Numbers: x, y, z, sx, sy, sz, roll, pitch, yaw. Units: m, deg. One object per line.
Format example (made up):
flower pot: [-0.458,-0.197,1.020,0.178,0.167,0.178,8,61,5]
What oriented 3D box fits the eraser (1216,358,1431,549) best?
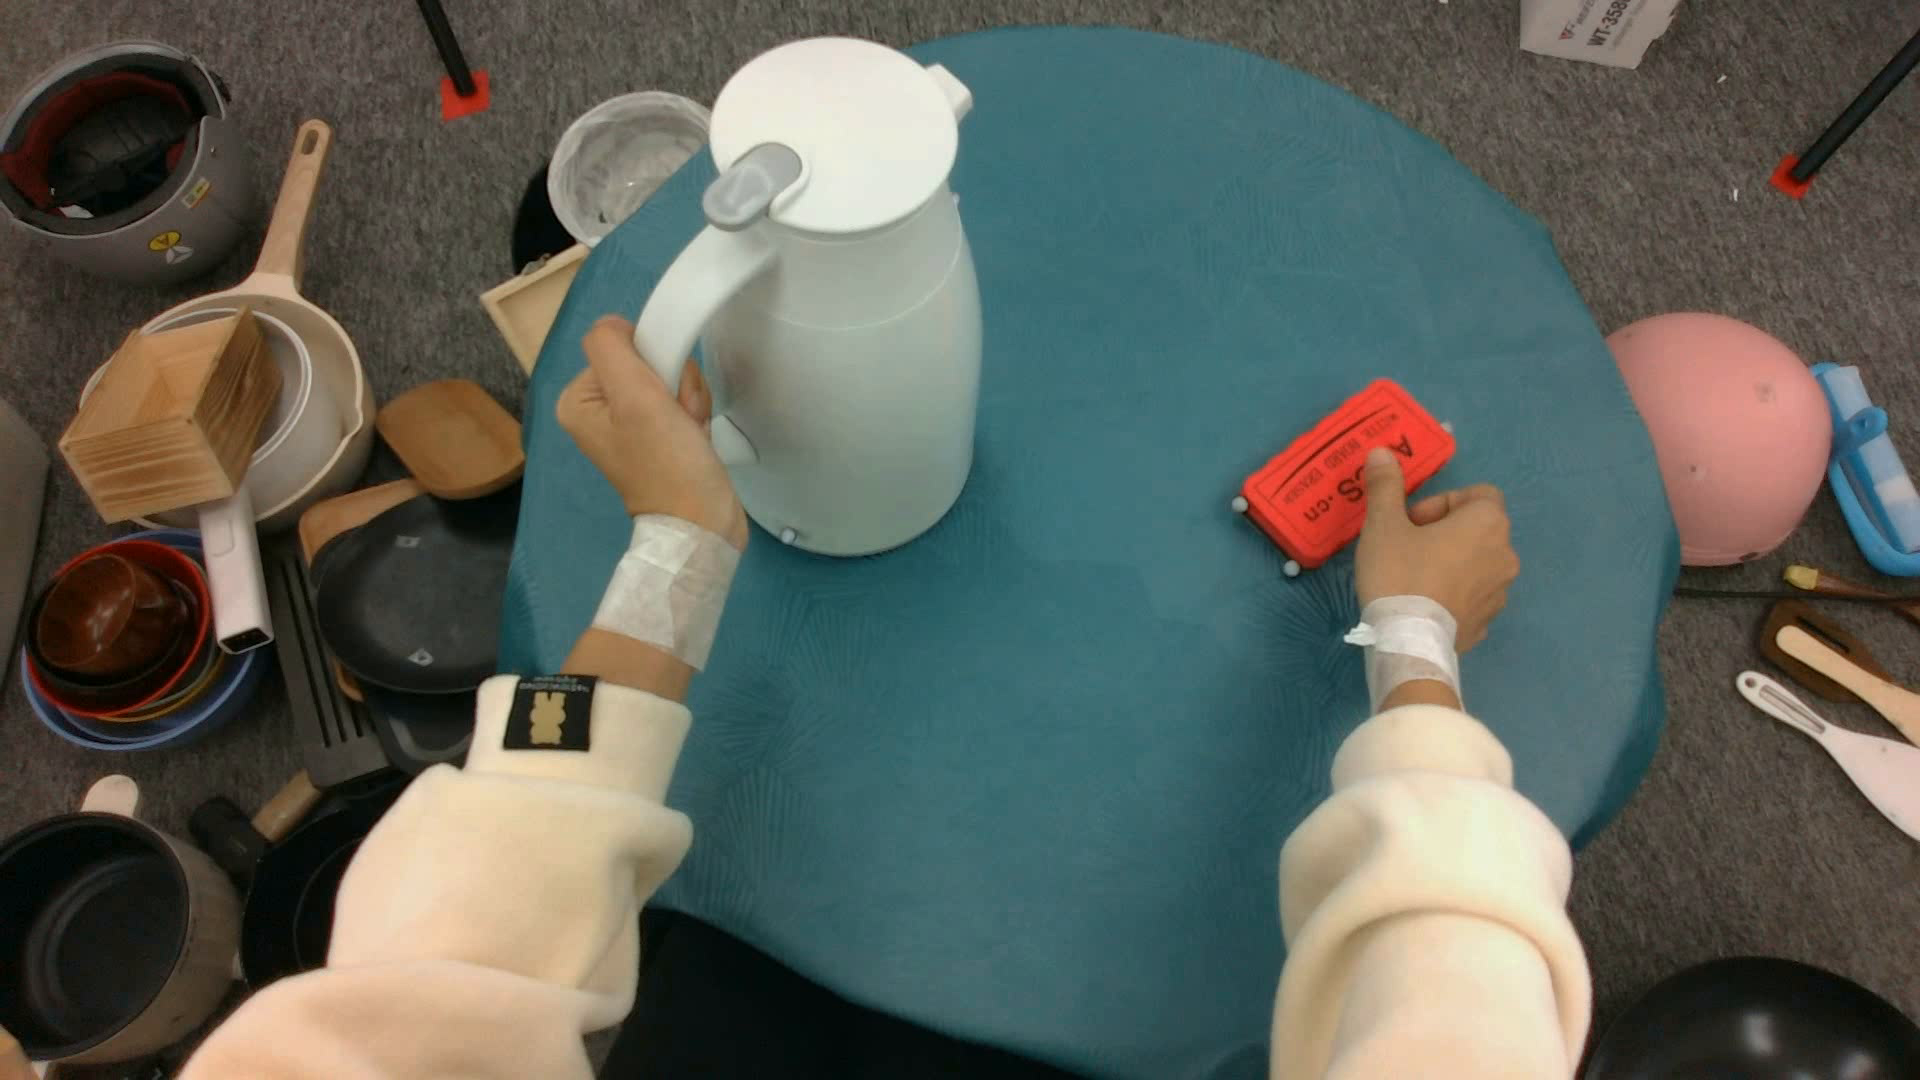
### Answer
eraser: [0.191,-0.046,0.724,0.108,0.023,0.059,-36,72,-16]

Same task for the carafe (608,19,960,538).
carafe: [-0.076,-0.098,0.609,0.132,0.247,0.168,43,71,15]
